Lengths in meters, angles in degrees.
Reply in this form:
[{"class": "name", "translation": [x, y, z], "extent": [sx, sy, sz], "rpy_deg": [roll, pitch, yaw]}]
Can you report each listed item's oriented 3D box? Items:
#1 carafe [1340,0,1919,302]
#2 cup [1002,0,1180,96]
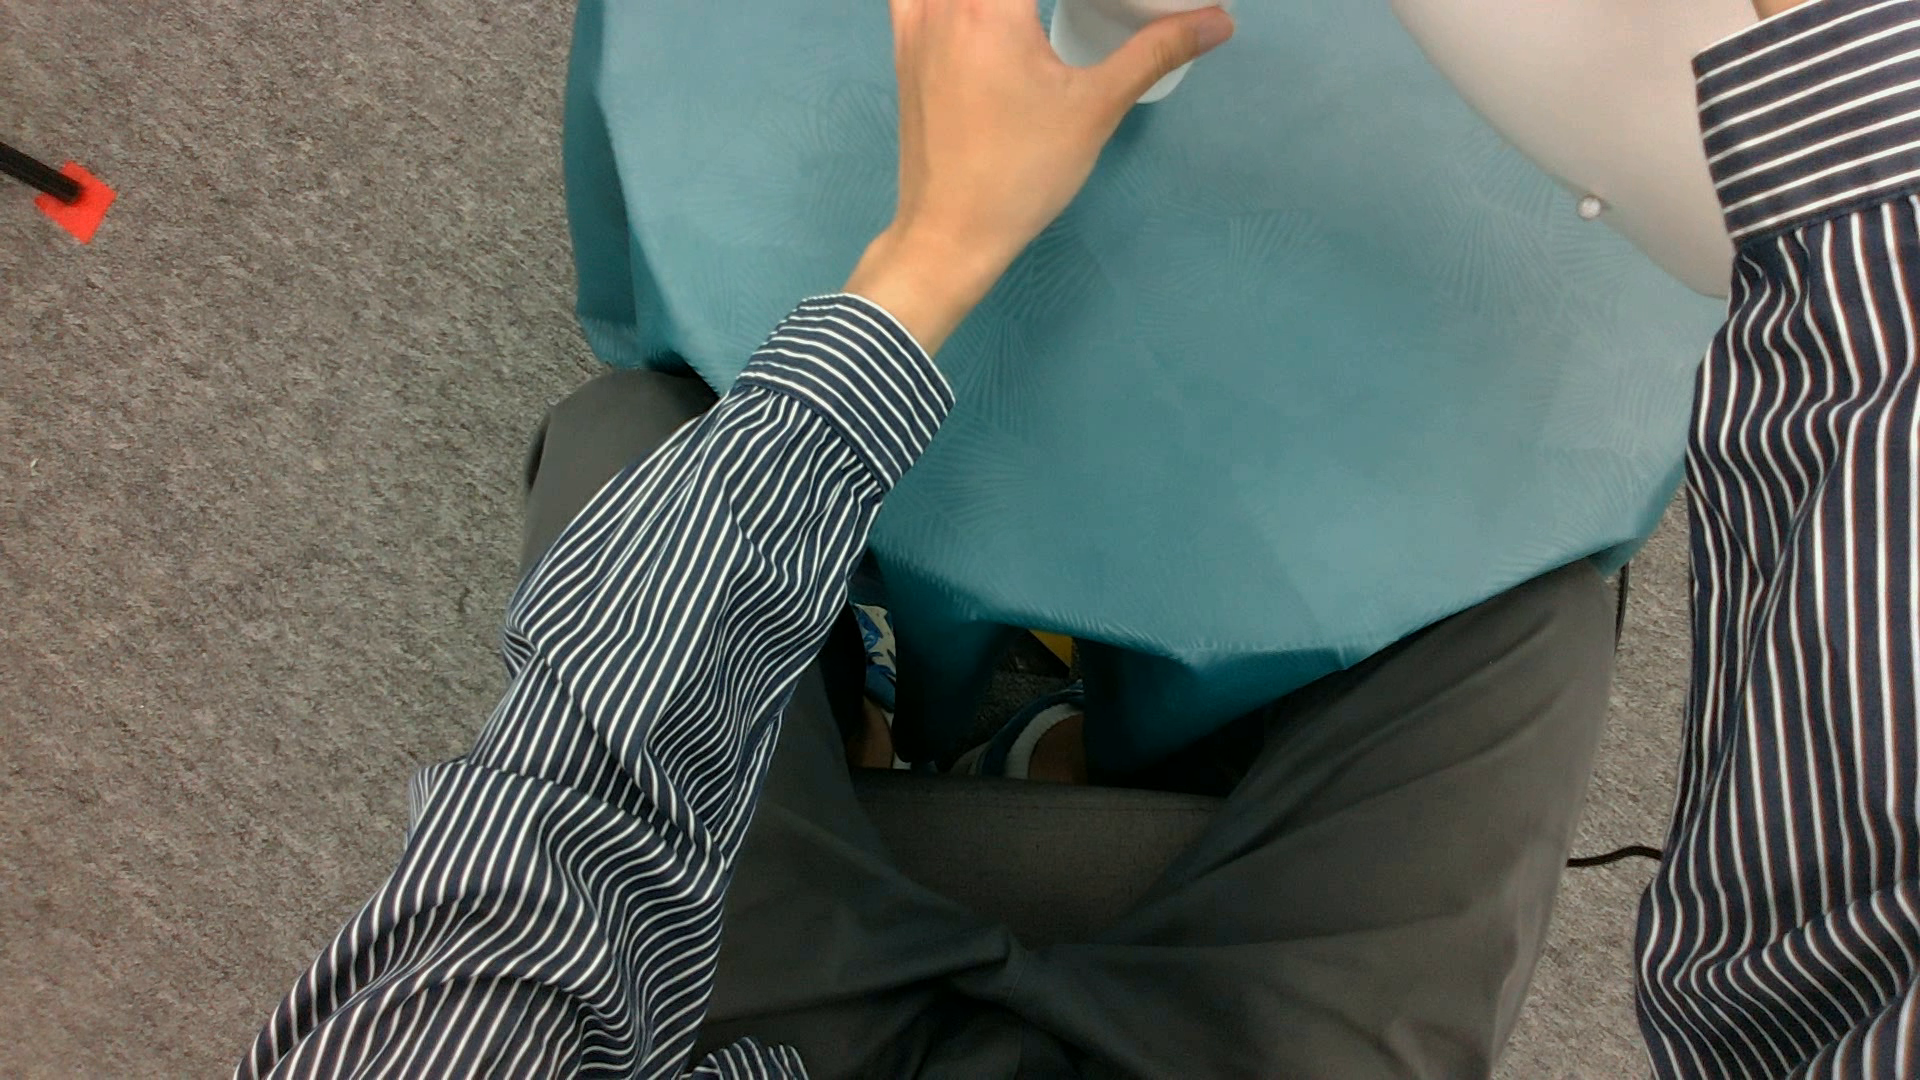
[{"class": "carafe", "translation": [0.210, -0.199, 0.452], "extent": [0.248, 0.167, 0.132], "rpy_deg": [29, 85, -20]}, {"class": "cup", "translation": [0.060, -0.248, 0.587], "extent": [0.082, 0.125, 0.082], "rpy_deg": [0, 86, -6]}]
